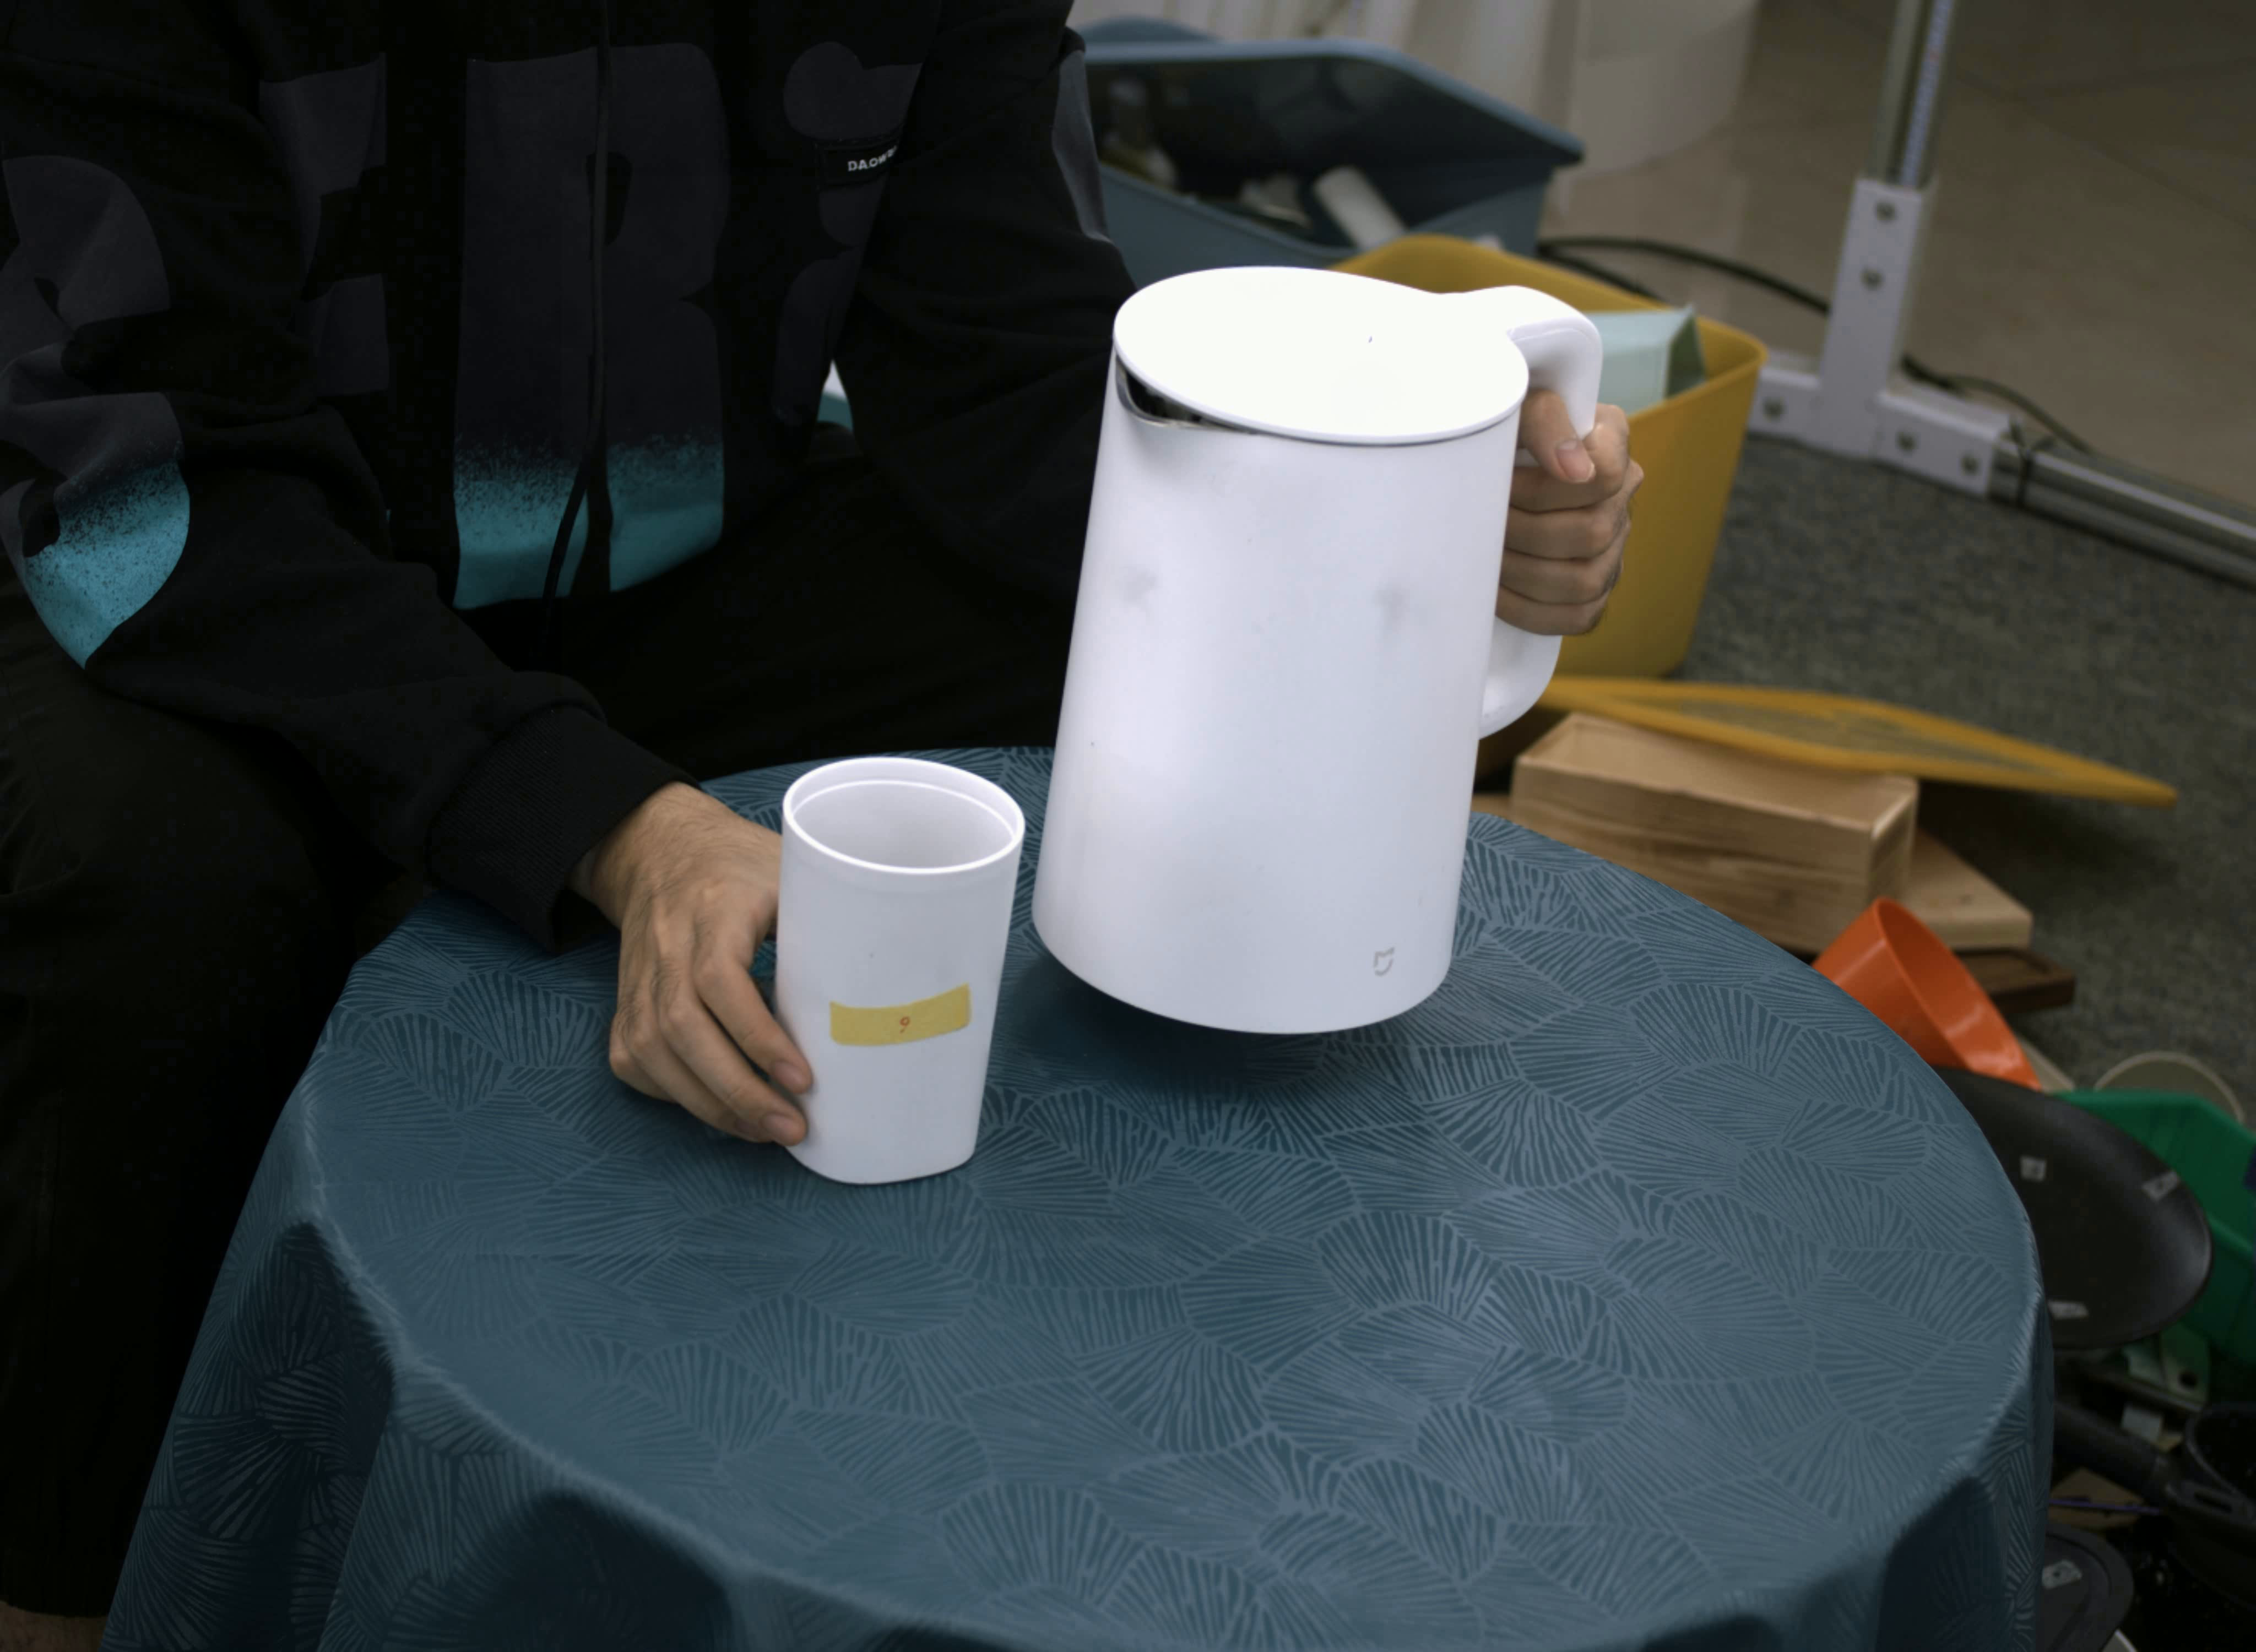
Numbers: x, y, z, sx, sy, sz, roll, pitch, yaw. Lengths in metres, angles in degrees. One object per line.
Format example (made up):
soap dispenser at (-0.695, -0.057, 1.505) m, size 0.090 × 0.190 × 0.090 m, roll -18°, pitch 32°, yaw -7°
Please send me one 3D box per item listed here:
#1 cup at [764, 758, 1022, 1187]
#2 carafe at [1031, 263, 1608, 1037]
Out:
cup at (-0.081, 0.051, 1.787) m, size 0.081 × 0.125 × 0.082 m, roll 5°, pitch 26°, yaw -3°
carafe at (0.074, -0.068, 1.874) m, size 0.212 × 0.239 × 0.153 m, roll -16°, pitch 35°, yaw -36°
